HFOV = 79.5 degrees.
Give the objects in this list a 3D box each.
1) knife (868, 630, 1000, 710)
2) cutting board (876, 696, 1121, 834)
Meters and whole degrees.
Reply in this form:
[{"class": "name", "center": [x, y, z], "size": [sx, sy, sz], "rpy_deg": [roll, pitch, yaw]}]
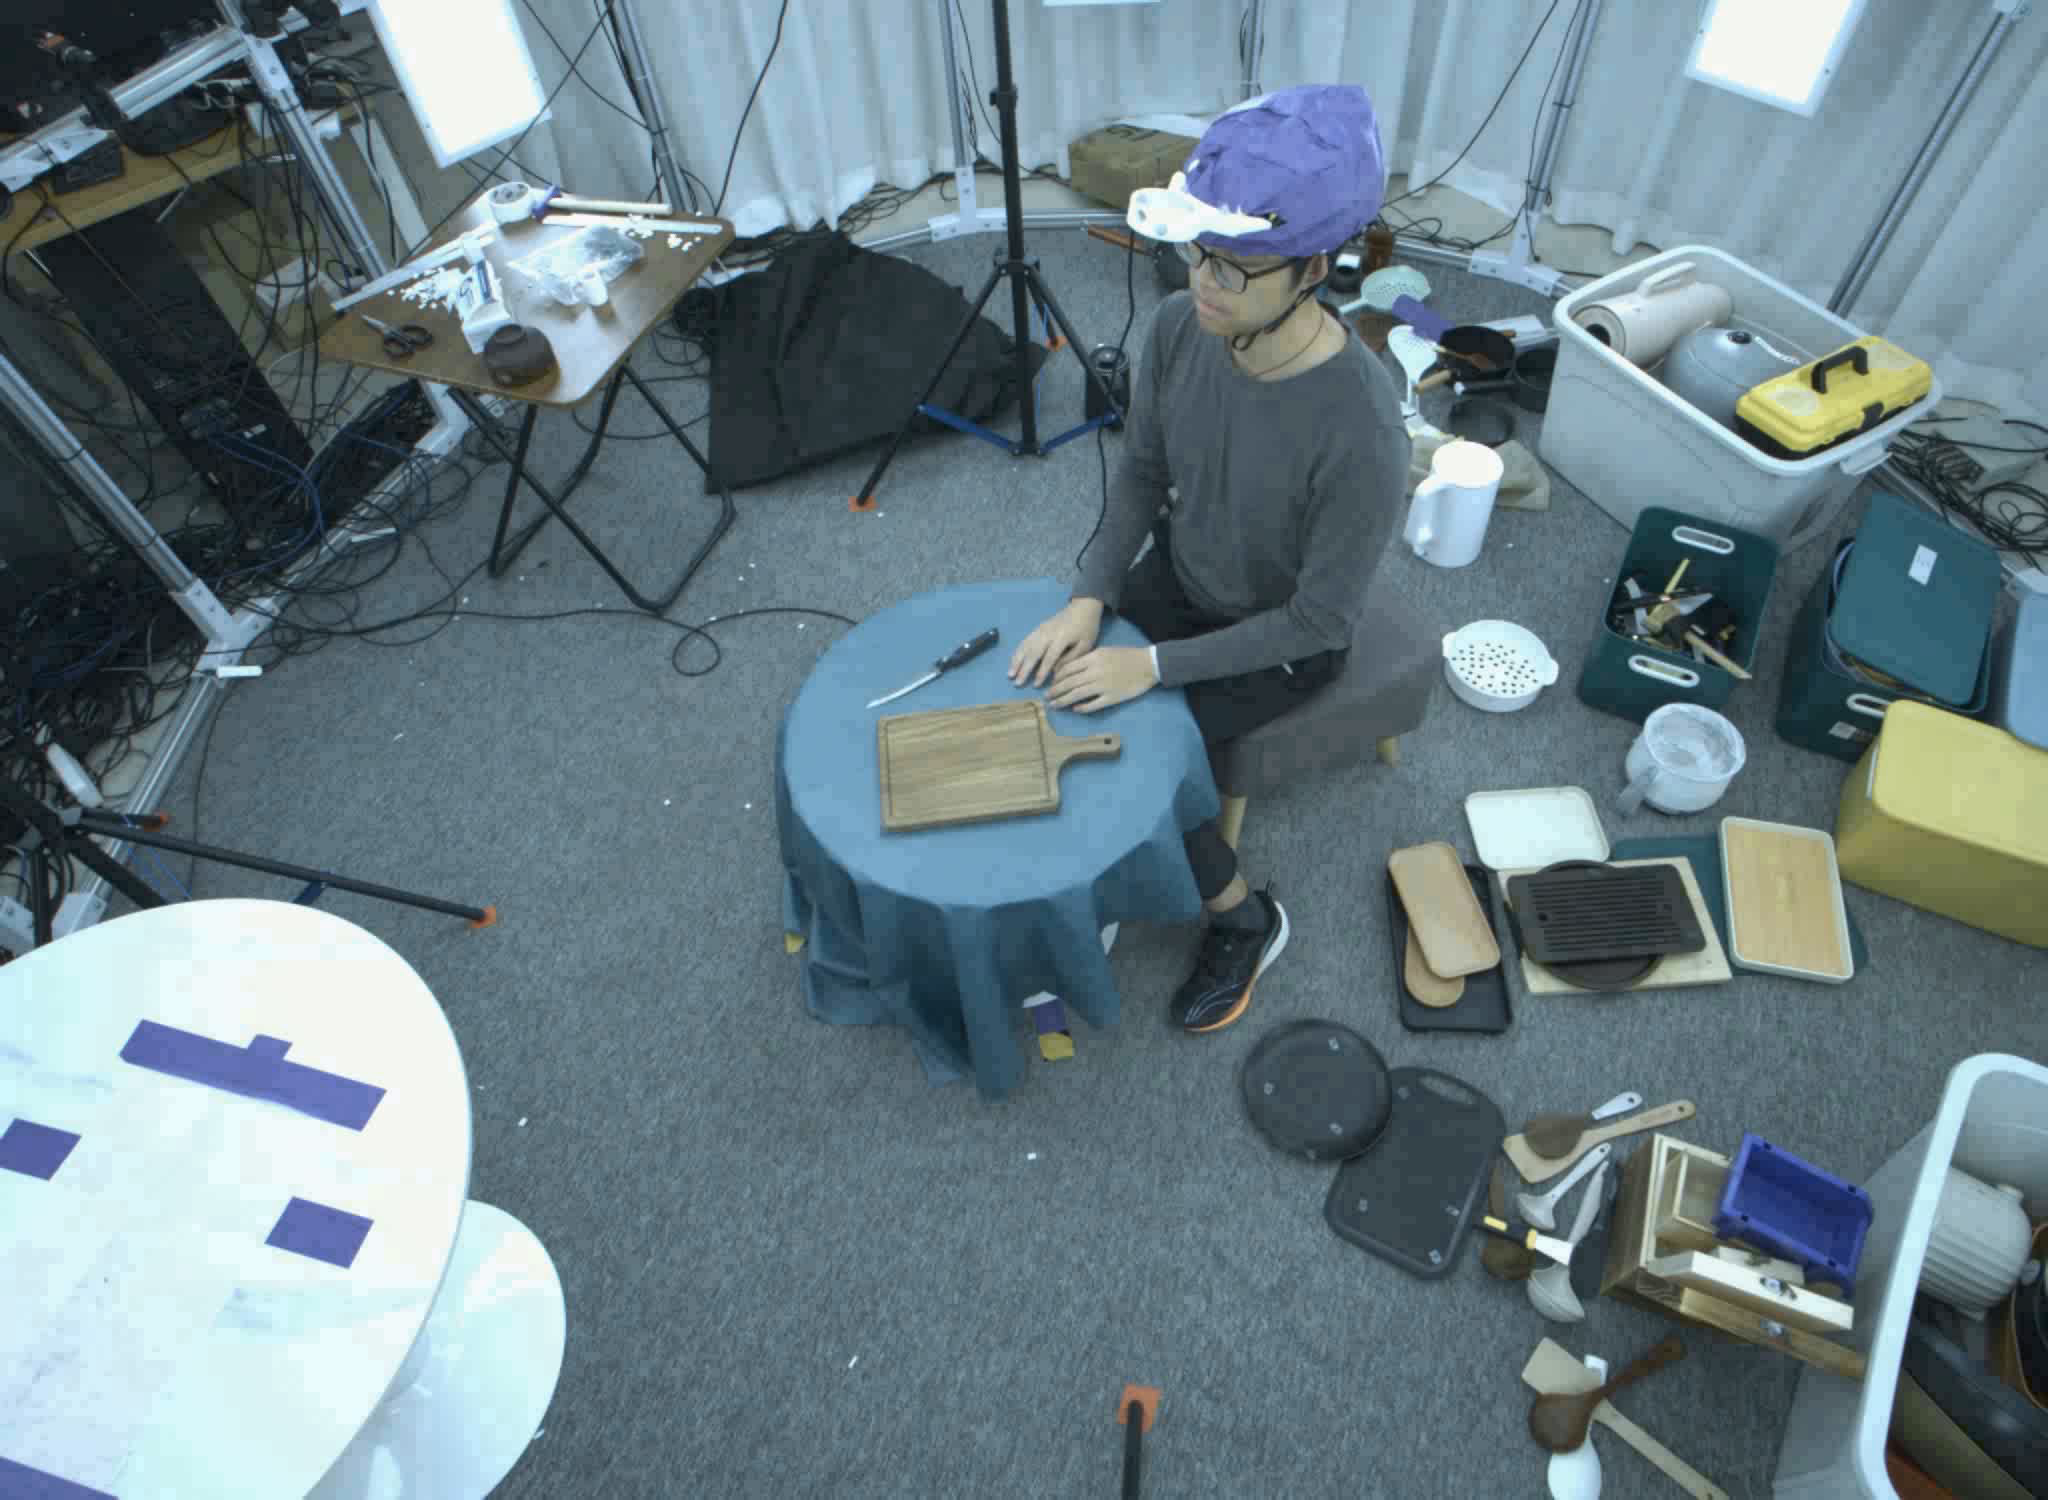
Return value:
[{"class": "knife", "center": [-0.140, -0.123, 1.880], "size": [0.240, 0.016, 0.024], "rpy_deg": [-32, 57, -17]}, {"class": "cutting board", "center": [-0.033, 0.012, 1.775], "size": [0.353, 0.023, 0.198], "rpy_deg": [-7, 55, -4]}]
